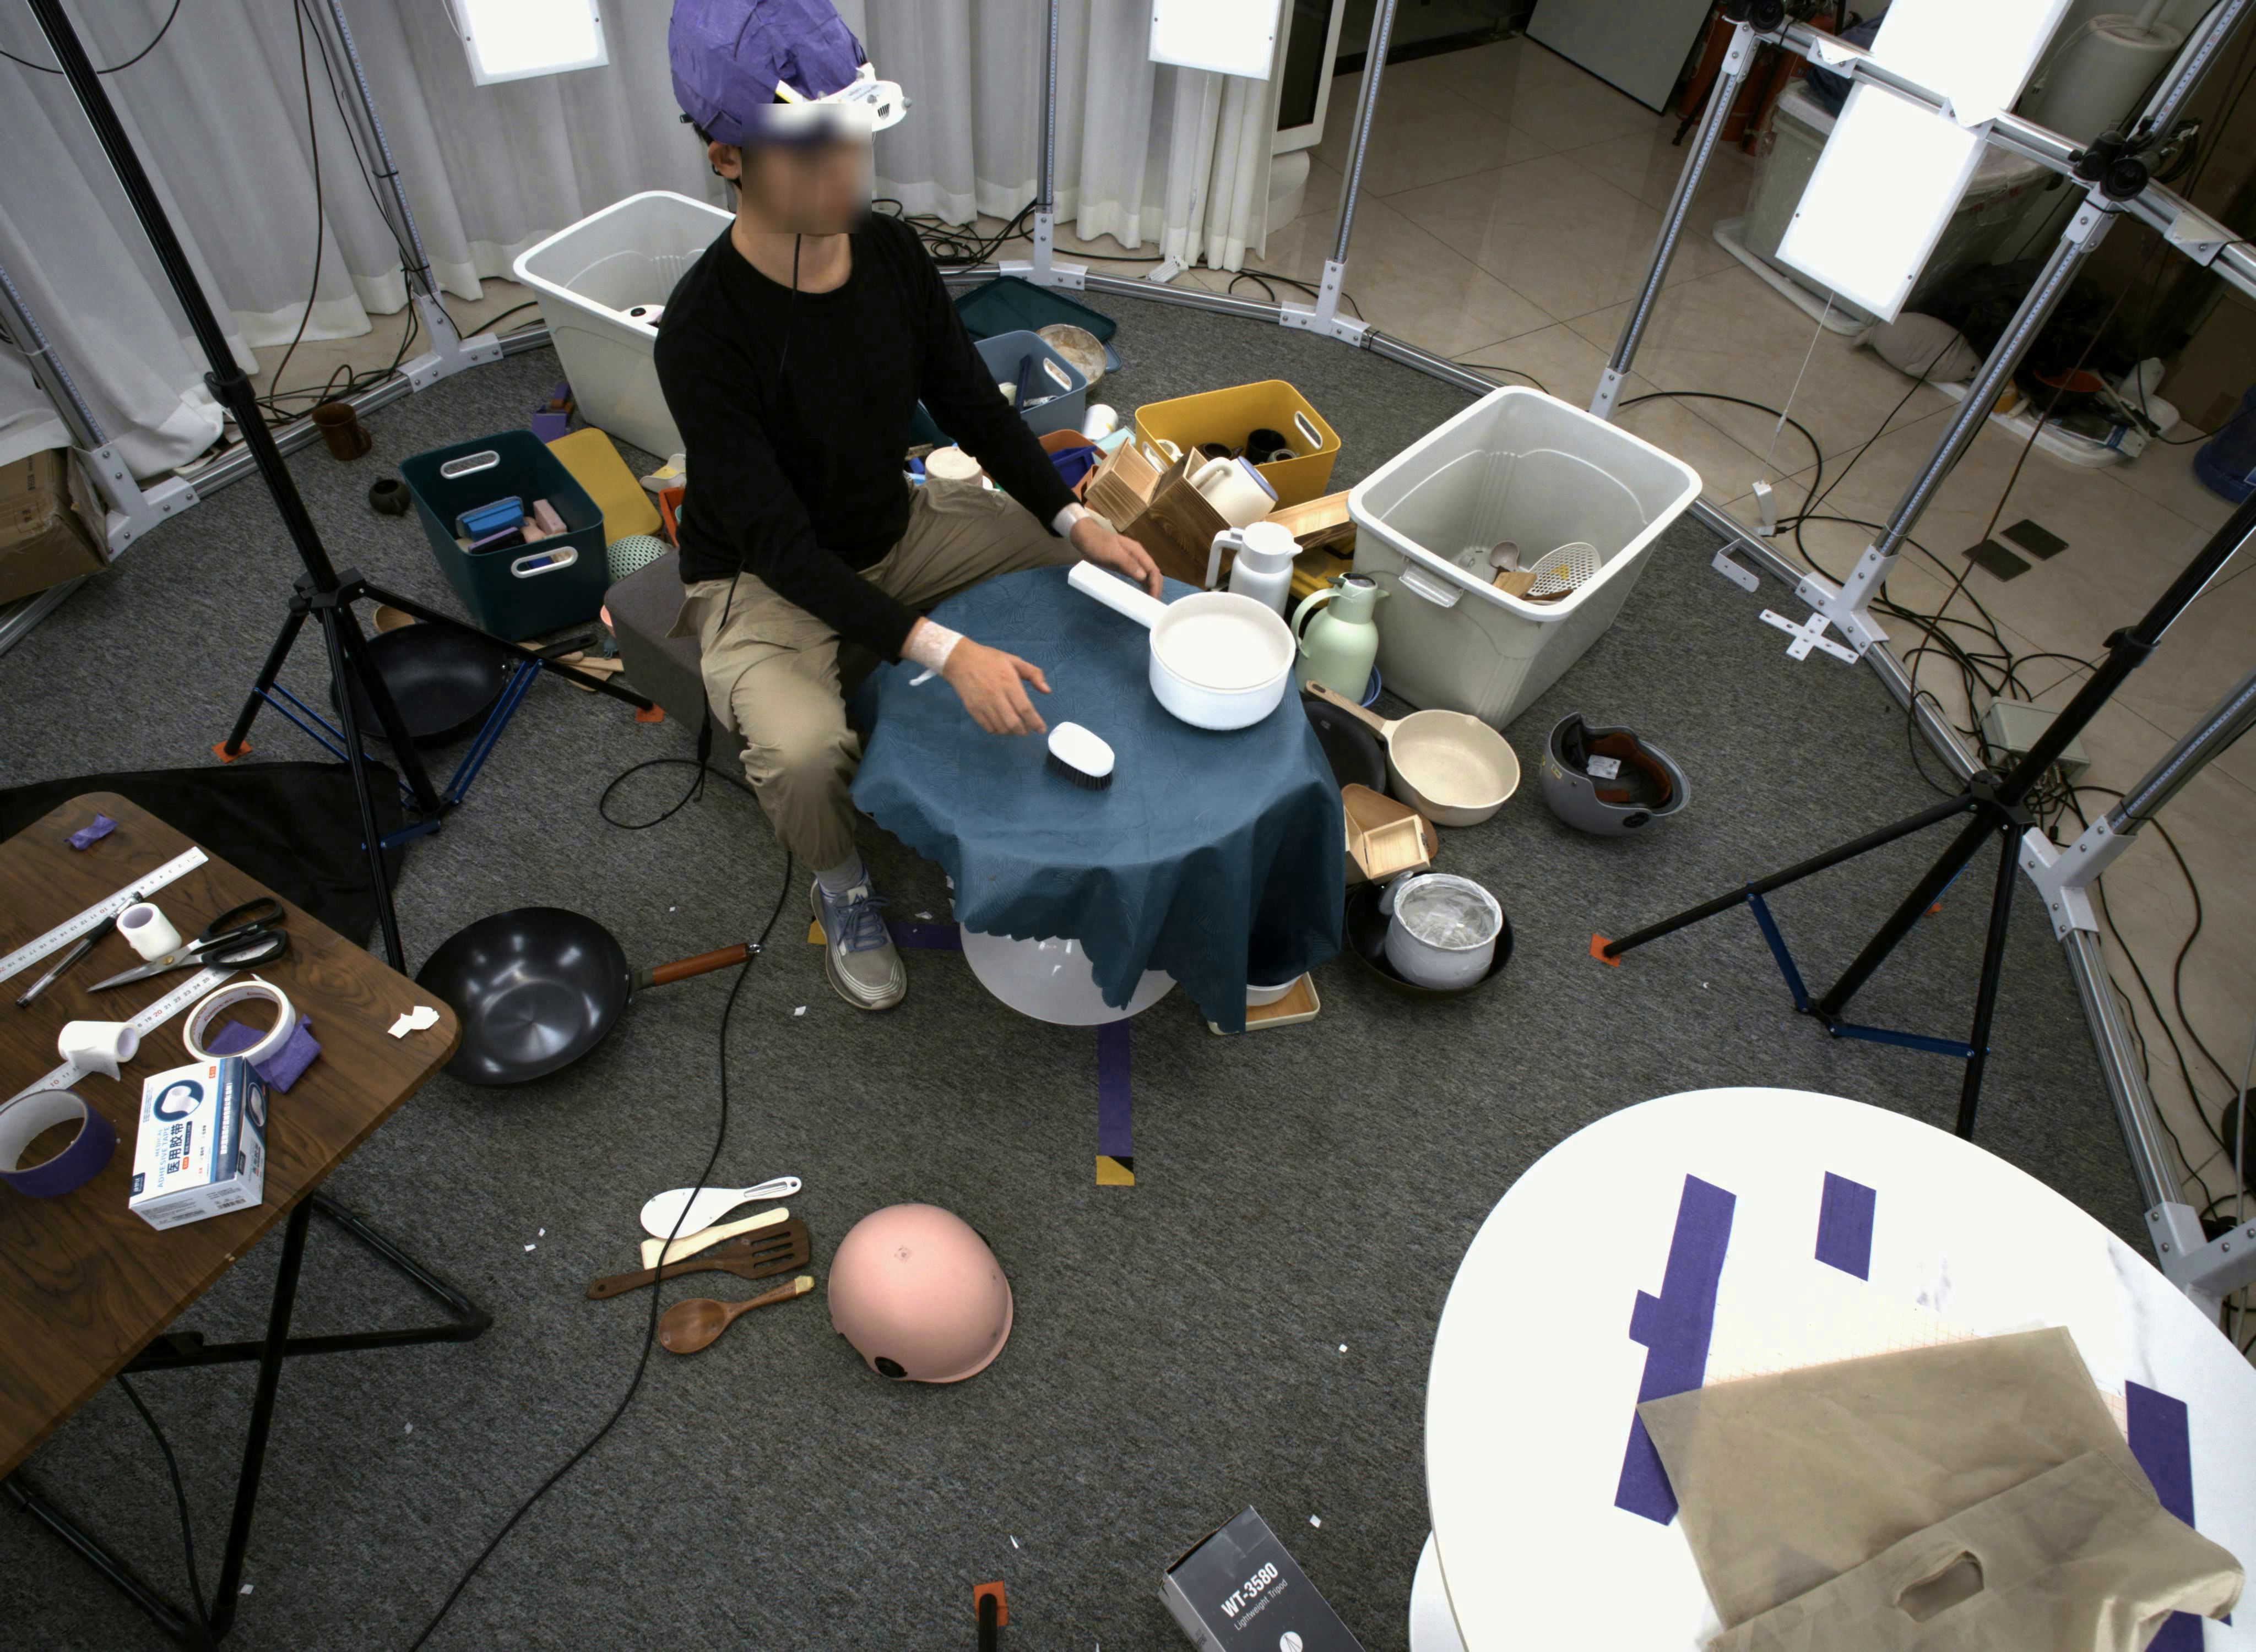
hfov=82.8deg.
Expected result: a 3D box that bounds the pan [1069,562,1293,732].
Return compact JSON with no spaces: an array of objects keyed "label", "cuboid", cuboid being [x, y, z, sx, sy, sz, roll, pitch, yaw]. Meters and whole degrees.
[{"label":"pan","cuboid":[0.065,-0.263,1.842,0.359,0.099,0.204,30,56,21]}]

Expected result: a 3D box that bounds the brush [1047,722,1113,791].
[{"label":"brush","cuboid":[-0.064,-0.100,1.705,0.100,0.071,0.051,32,54,21]}]
